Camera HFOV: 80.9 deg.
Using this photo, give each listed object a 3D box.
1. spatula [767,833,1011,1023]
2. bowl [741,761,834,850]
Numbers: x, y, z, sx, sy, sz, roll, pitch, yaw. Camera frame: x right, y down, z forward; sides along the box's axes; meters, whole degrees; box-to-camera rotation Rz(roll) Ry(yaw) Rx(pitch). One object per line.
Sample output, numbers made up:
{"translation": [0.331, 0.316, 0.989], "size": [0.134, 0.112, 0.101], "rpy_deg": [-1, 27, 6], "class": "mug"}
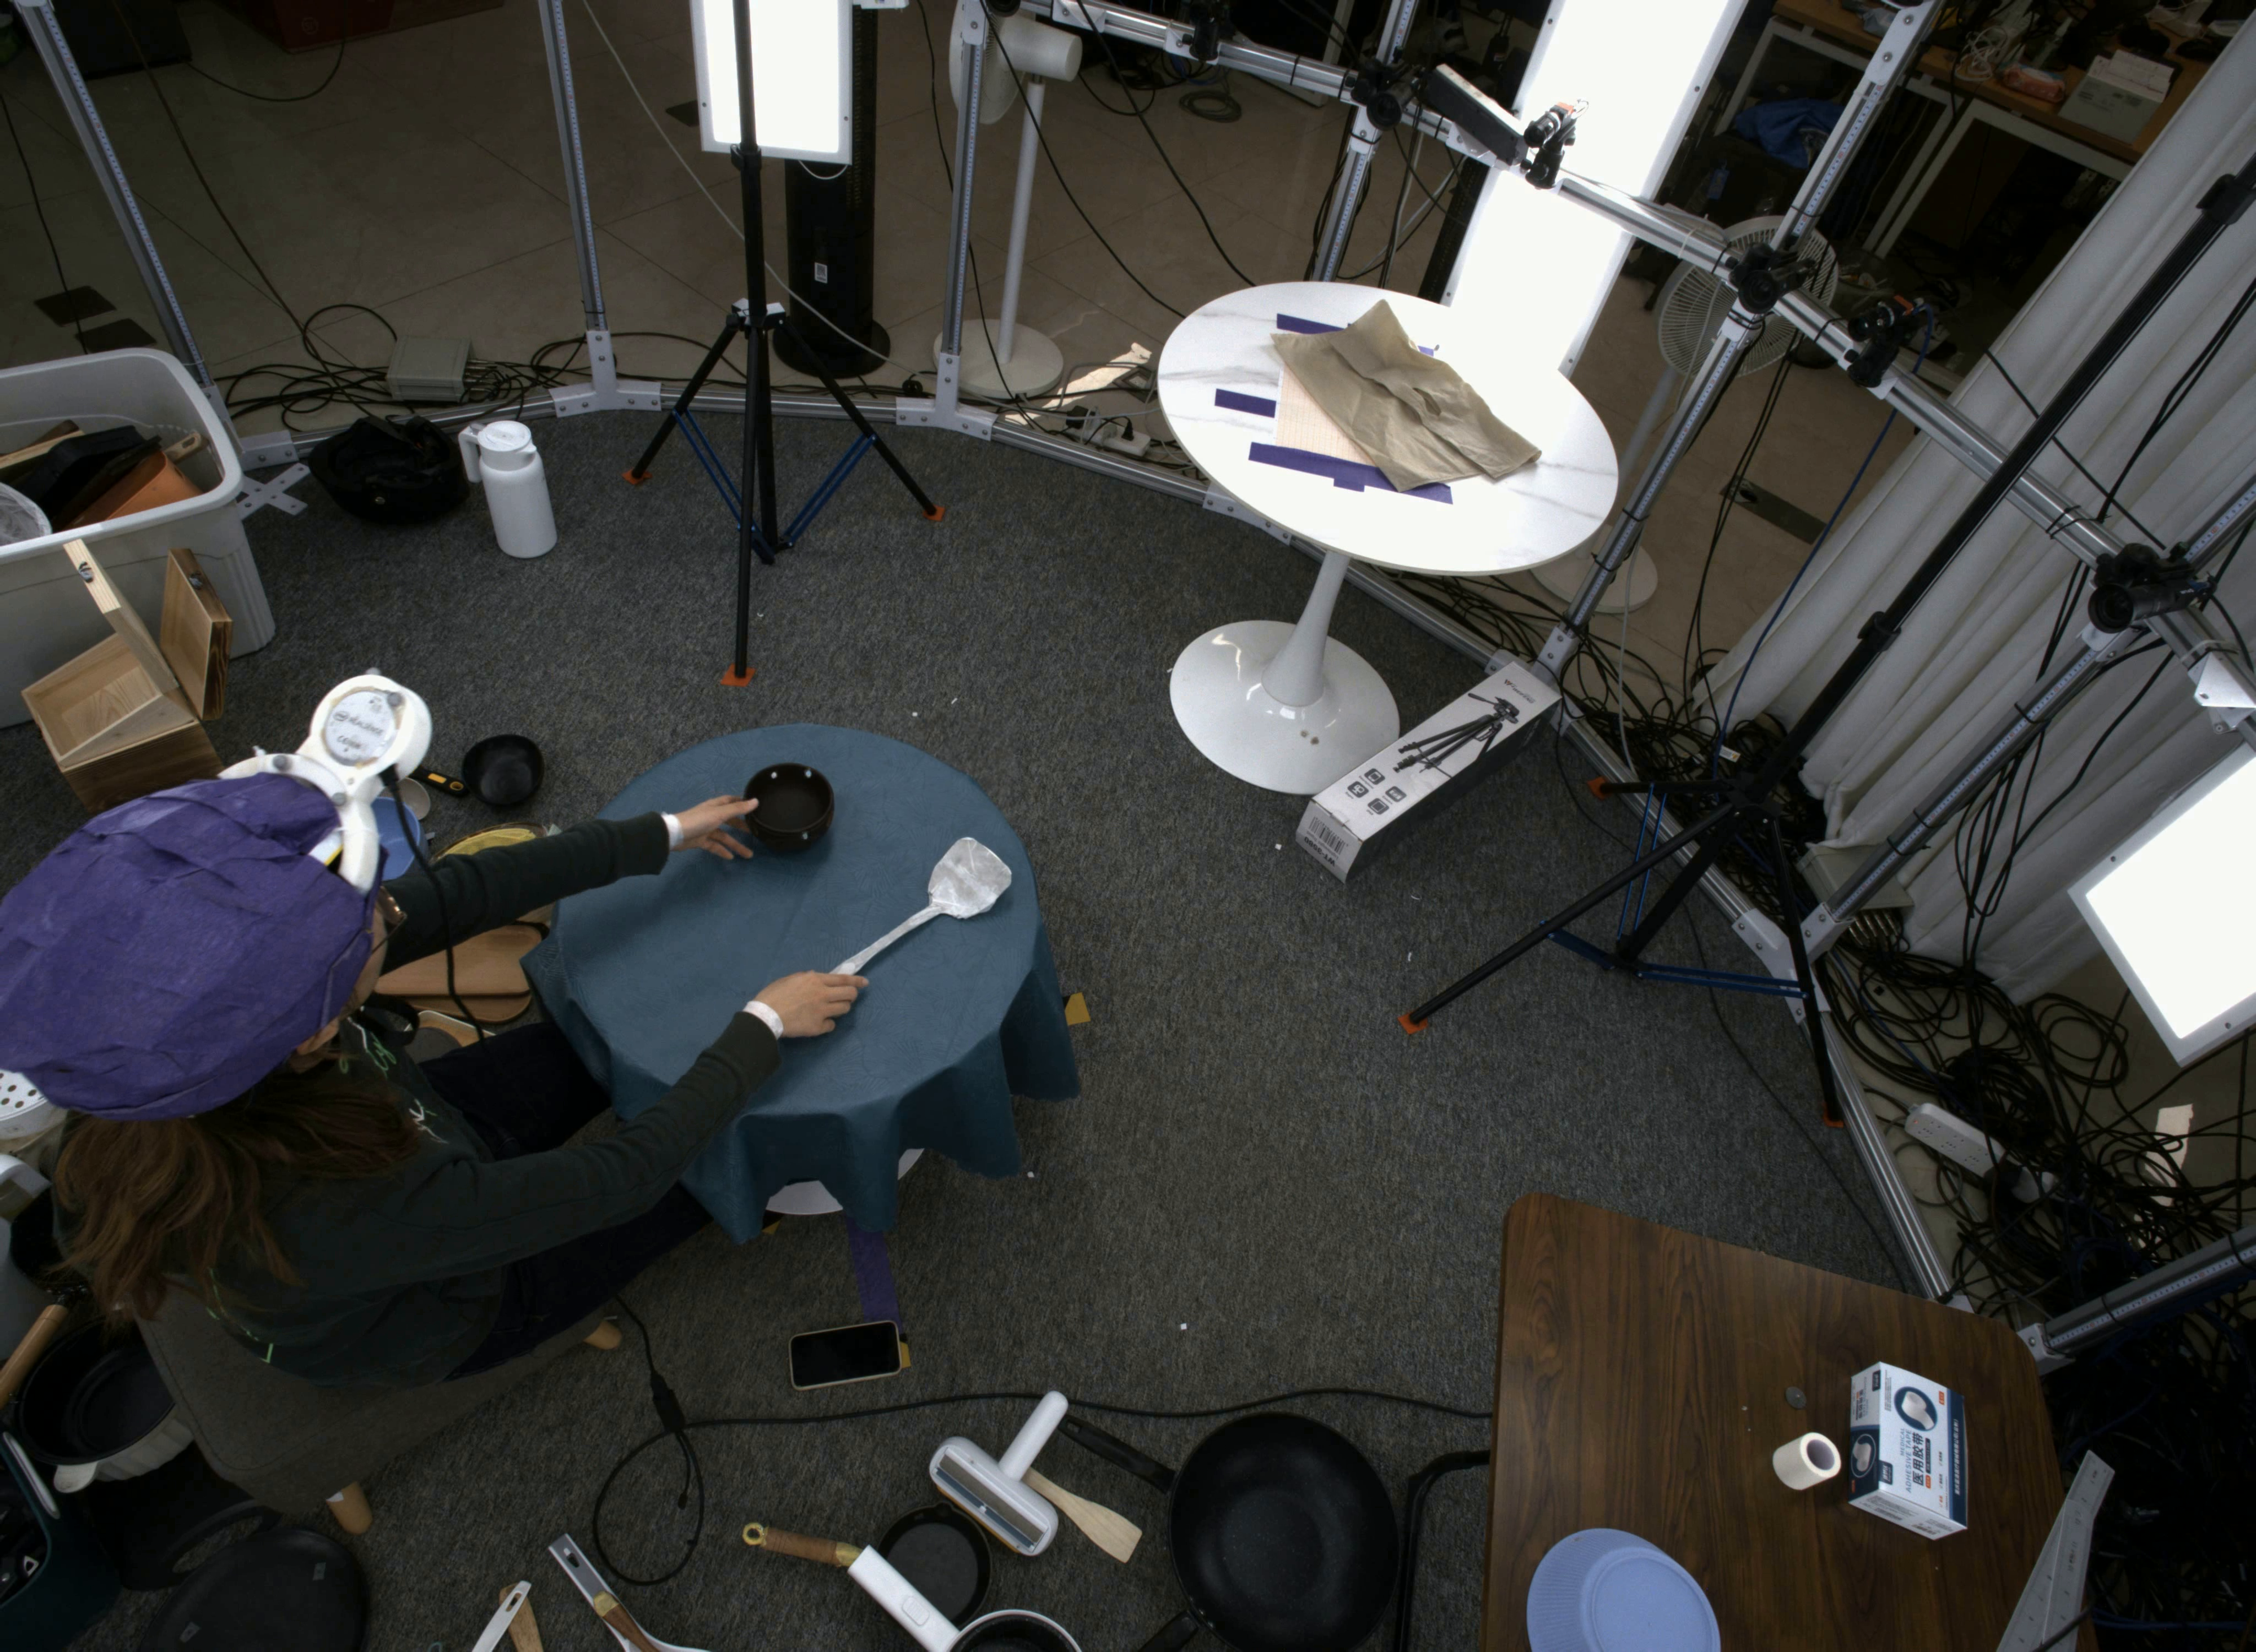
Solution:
{"translation": [-0.301, 0.134, 1.636], "size": [0.097, 0.045, 0.365], "rpy_deg": [42, 55, 16], "class": "spatula"}
{"translation": [-0.443, -0.019, 1.692], "size": [0.117, 0.071, 0.116], "rpy_deg": [6, 52, -6], "class": "bowl"}
